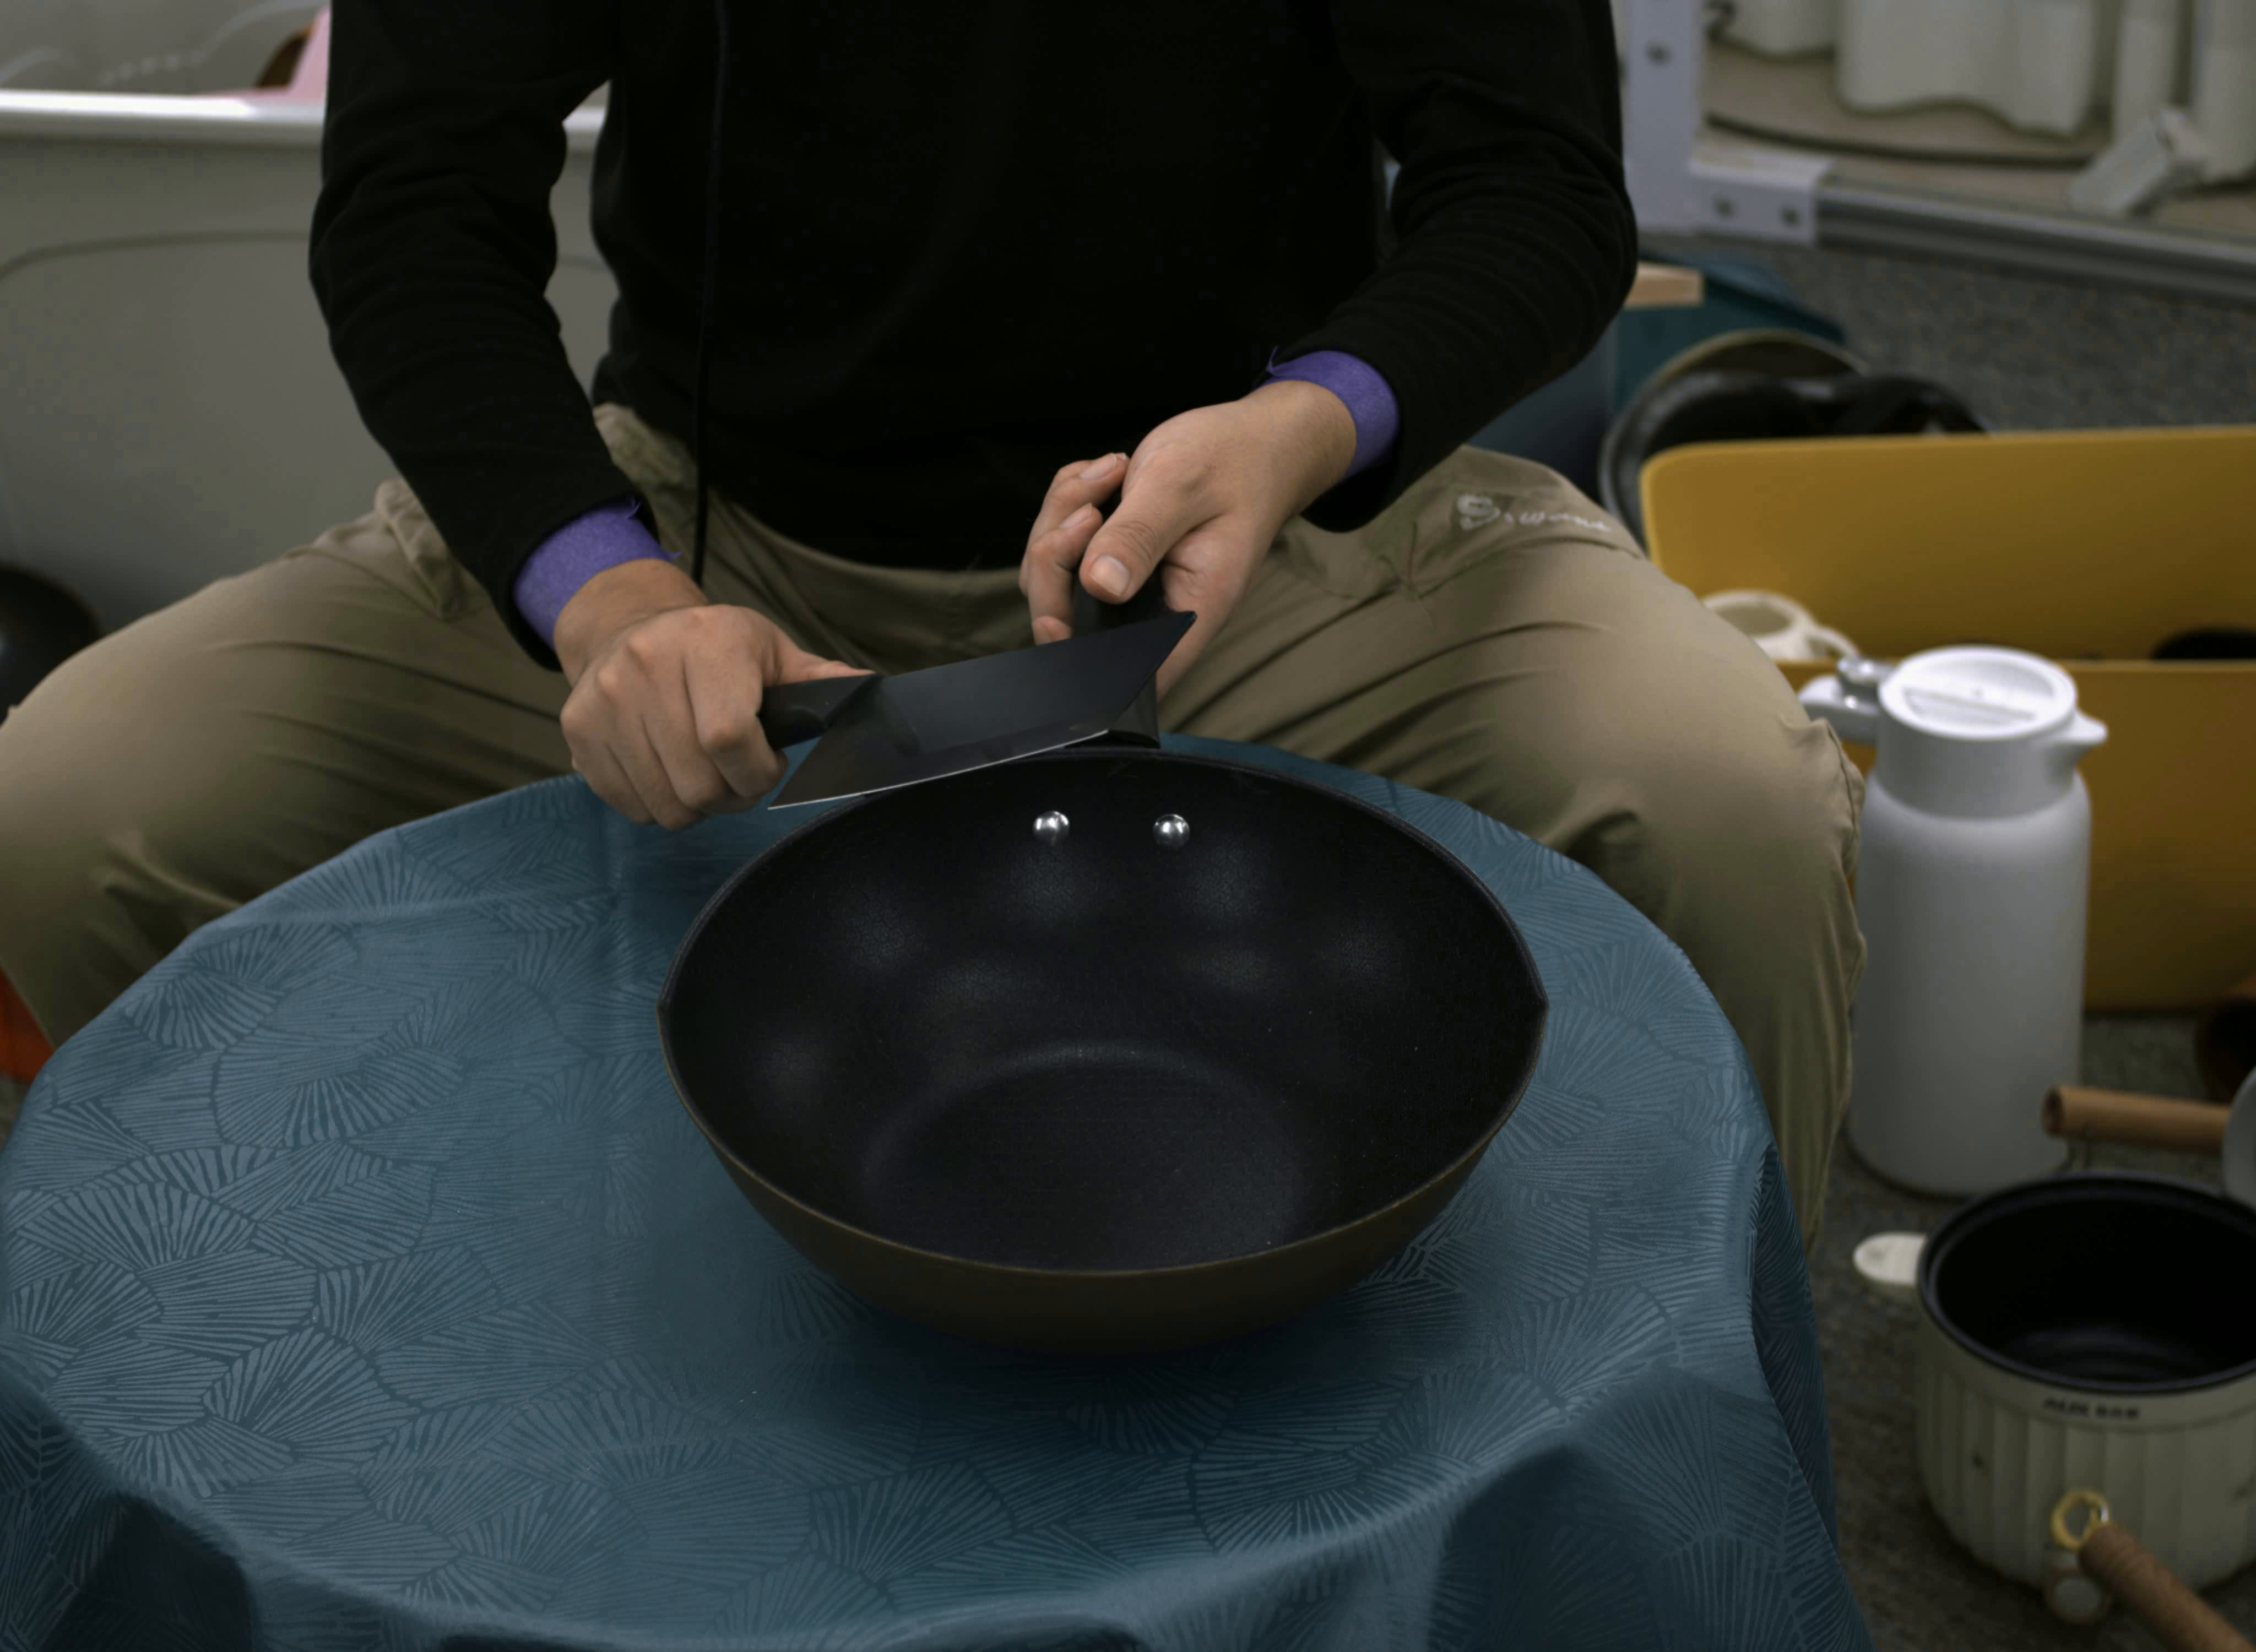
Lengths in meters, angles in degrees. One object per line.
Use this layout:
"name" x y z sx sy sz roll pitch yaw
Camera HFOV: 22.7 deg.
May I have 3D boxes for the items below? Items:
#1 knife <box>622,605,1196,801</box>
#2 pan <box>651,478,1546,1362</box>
"knife" -0.085 -0.035 1.934 0.299 0.021 0.082 -7 37 53
"pan" -0.007 0.034 1.896 0.287 0.085 0.472 1 34 1
